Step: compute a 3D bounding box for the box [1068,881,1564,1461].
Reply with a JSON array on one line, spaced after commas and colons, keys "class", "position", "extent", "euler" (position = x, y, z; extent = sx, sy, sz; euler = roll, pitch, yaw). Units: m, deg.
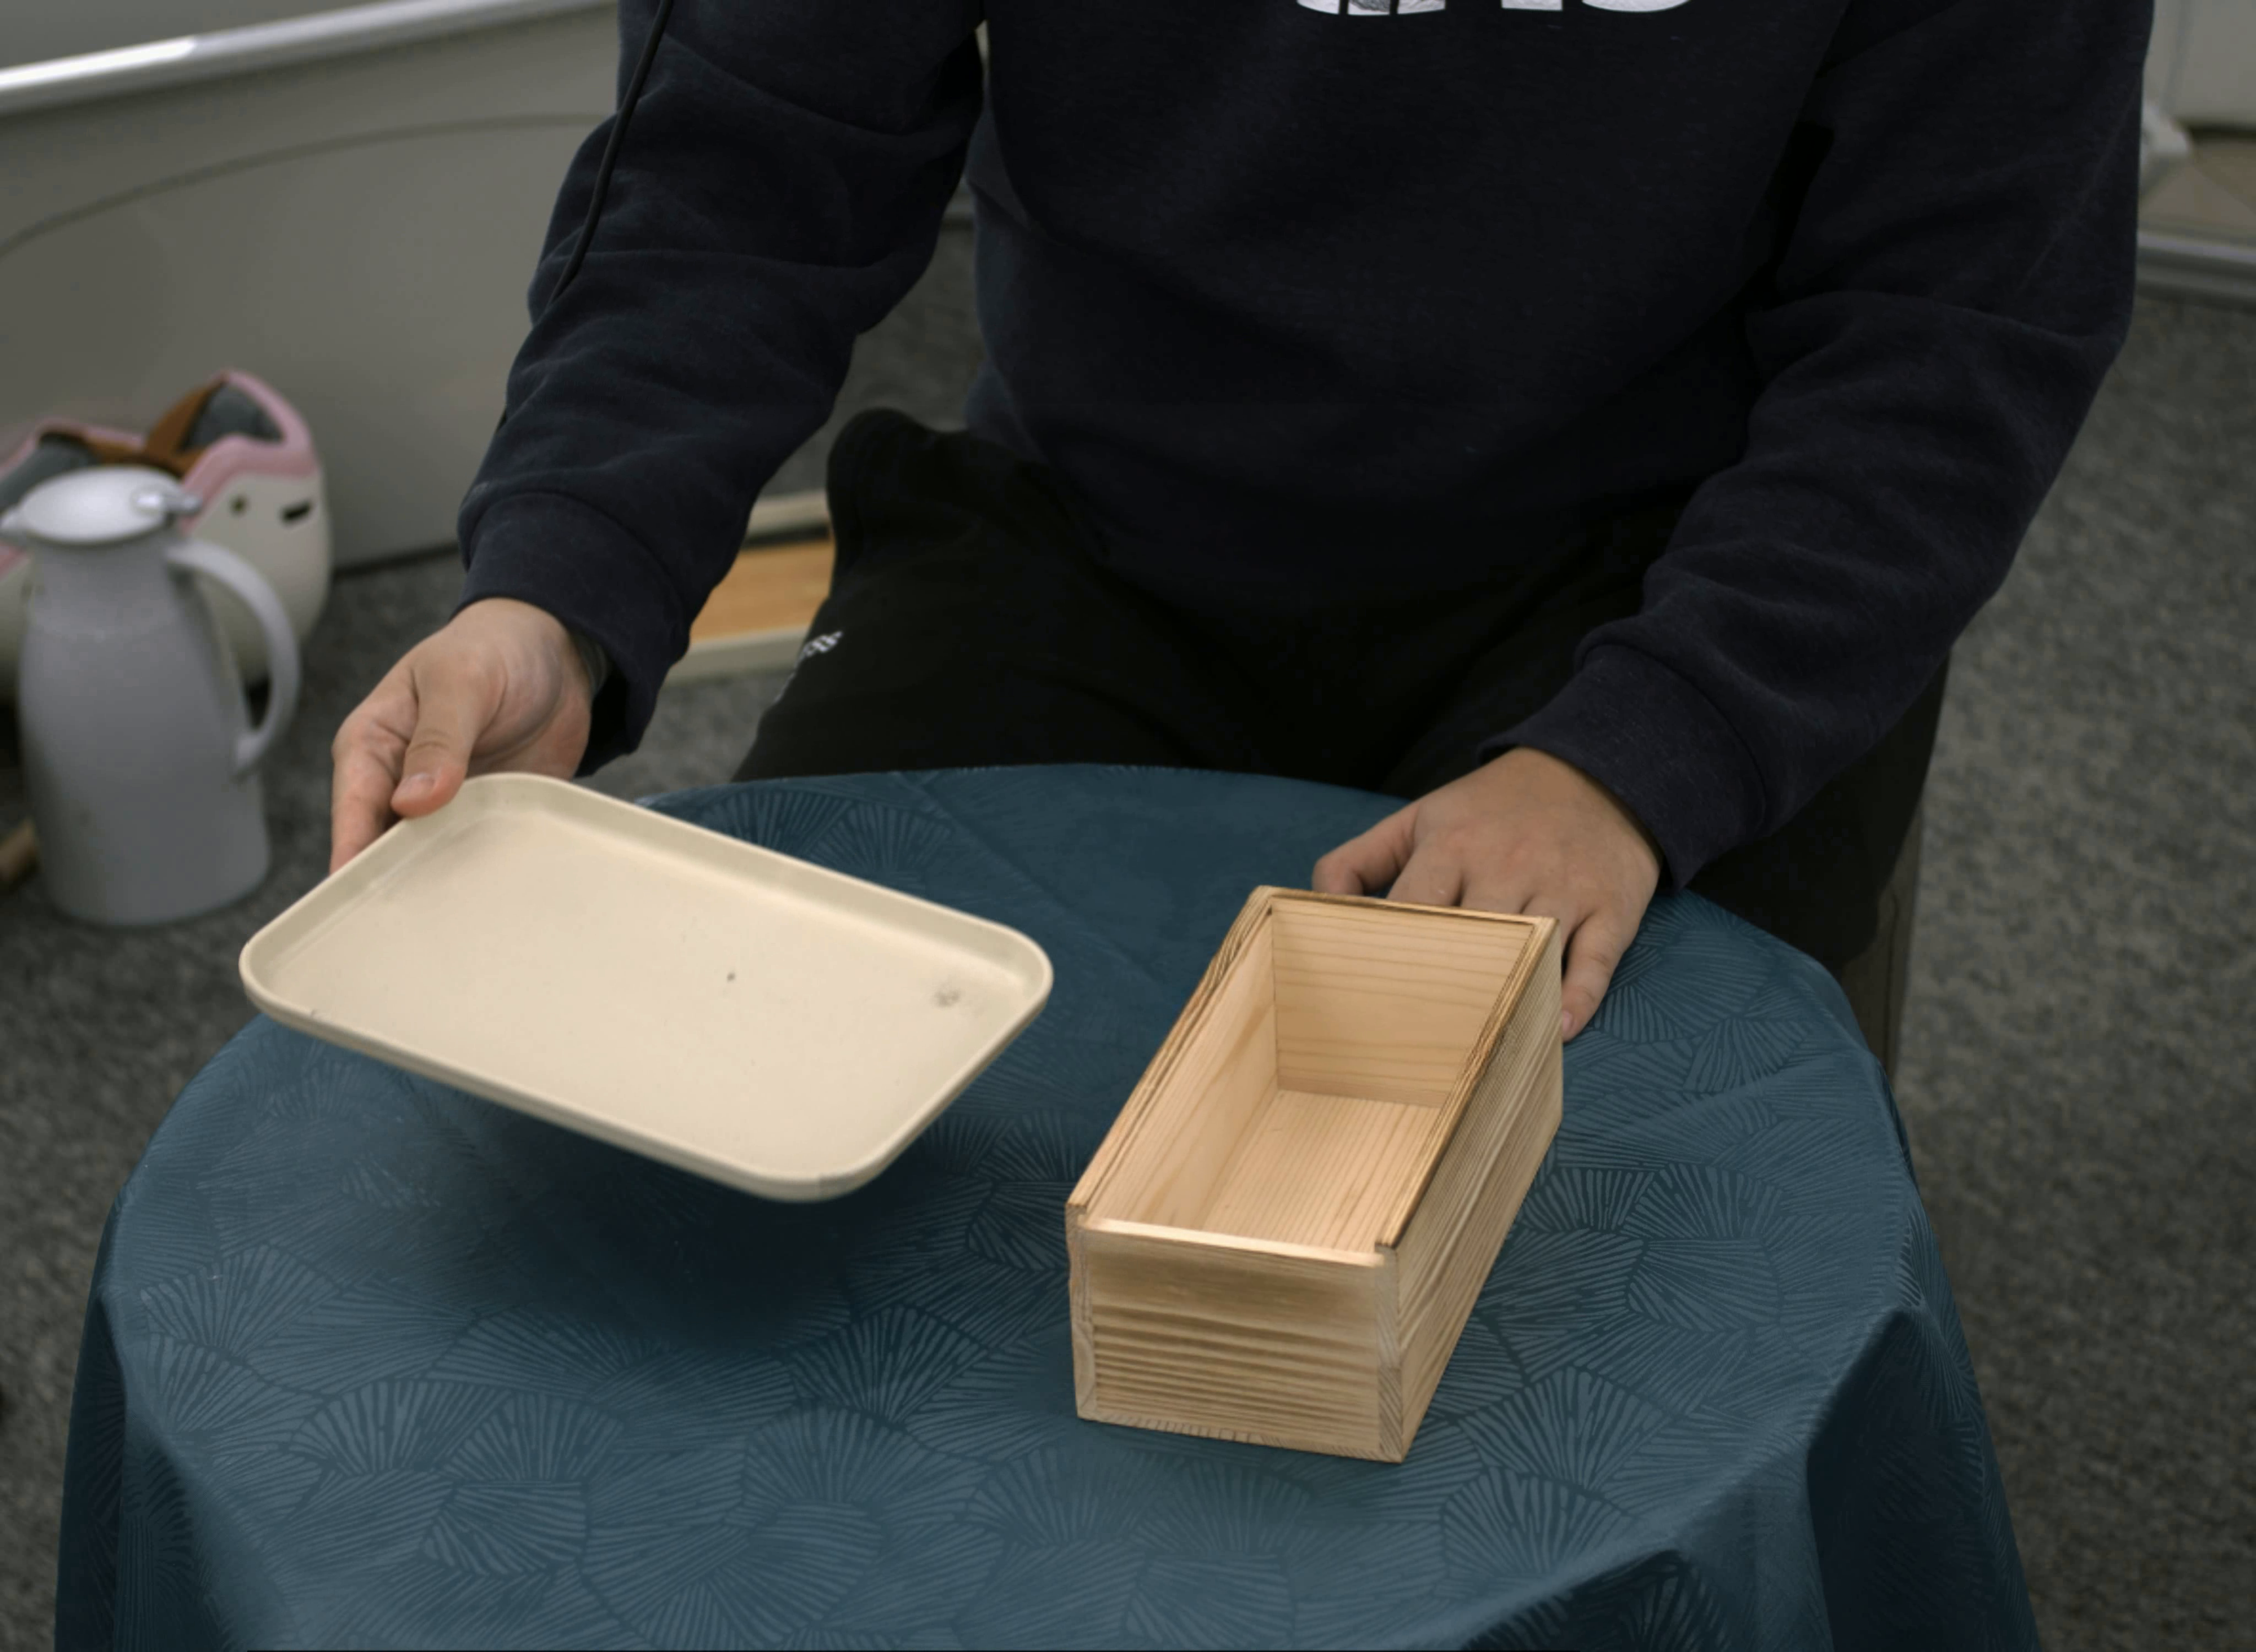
[{"class": "box", "position": [0.064, 0.107, 1.802], "extent": [0.107, 0.079, 0.215], "euler": [6, 28, 16]}]

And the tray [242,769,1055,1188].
[{"class": "tray", "position": [-0.157, 0.050, 1.852], "extent": [0.238, 0.017, 0.174], "euler": [17, 32, 21]}]
